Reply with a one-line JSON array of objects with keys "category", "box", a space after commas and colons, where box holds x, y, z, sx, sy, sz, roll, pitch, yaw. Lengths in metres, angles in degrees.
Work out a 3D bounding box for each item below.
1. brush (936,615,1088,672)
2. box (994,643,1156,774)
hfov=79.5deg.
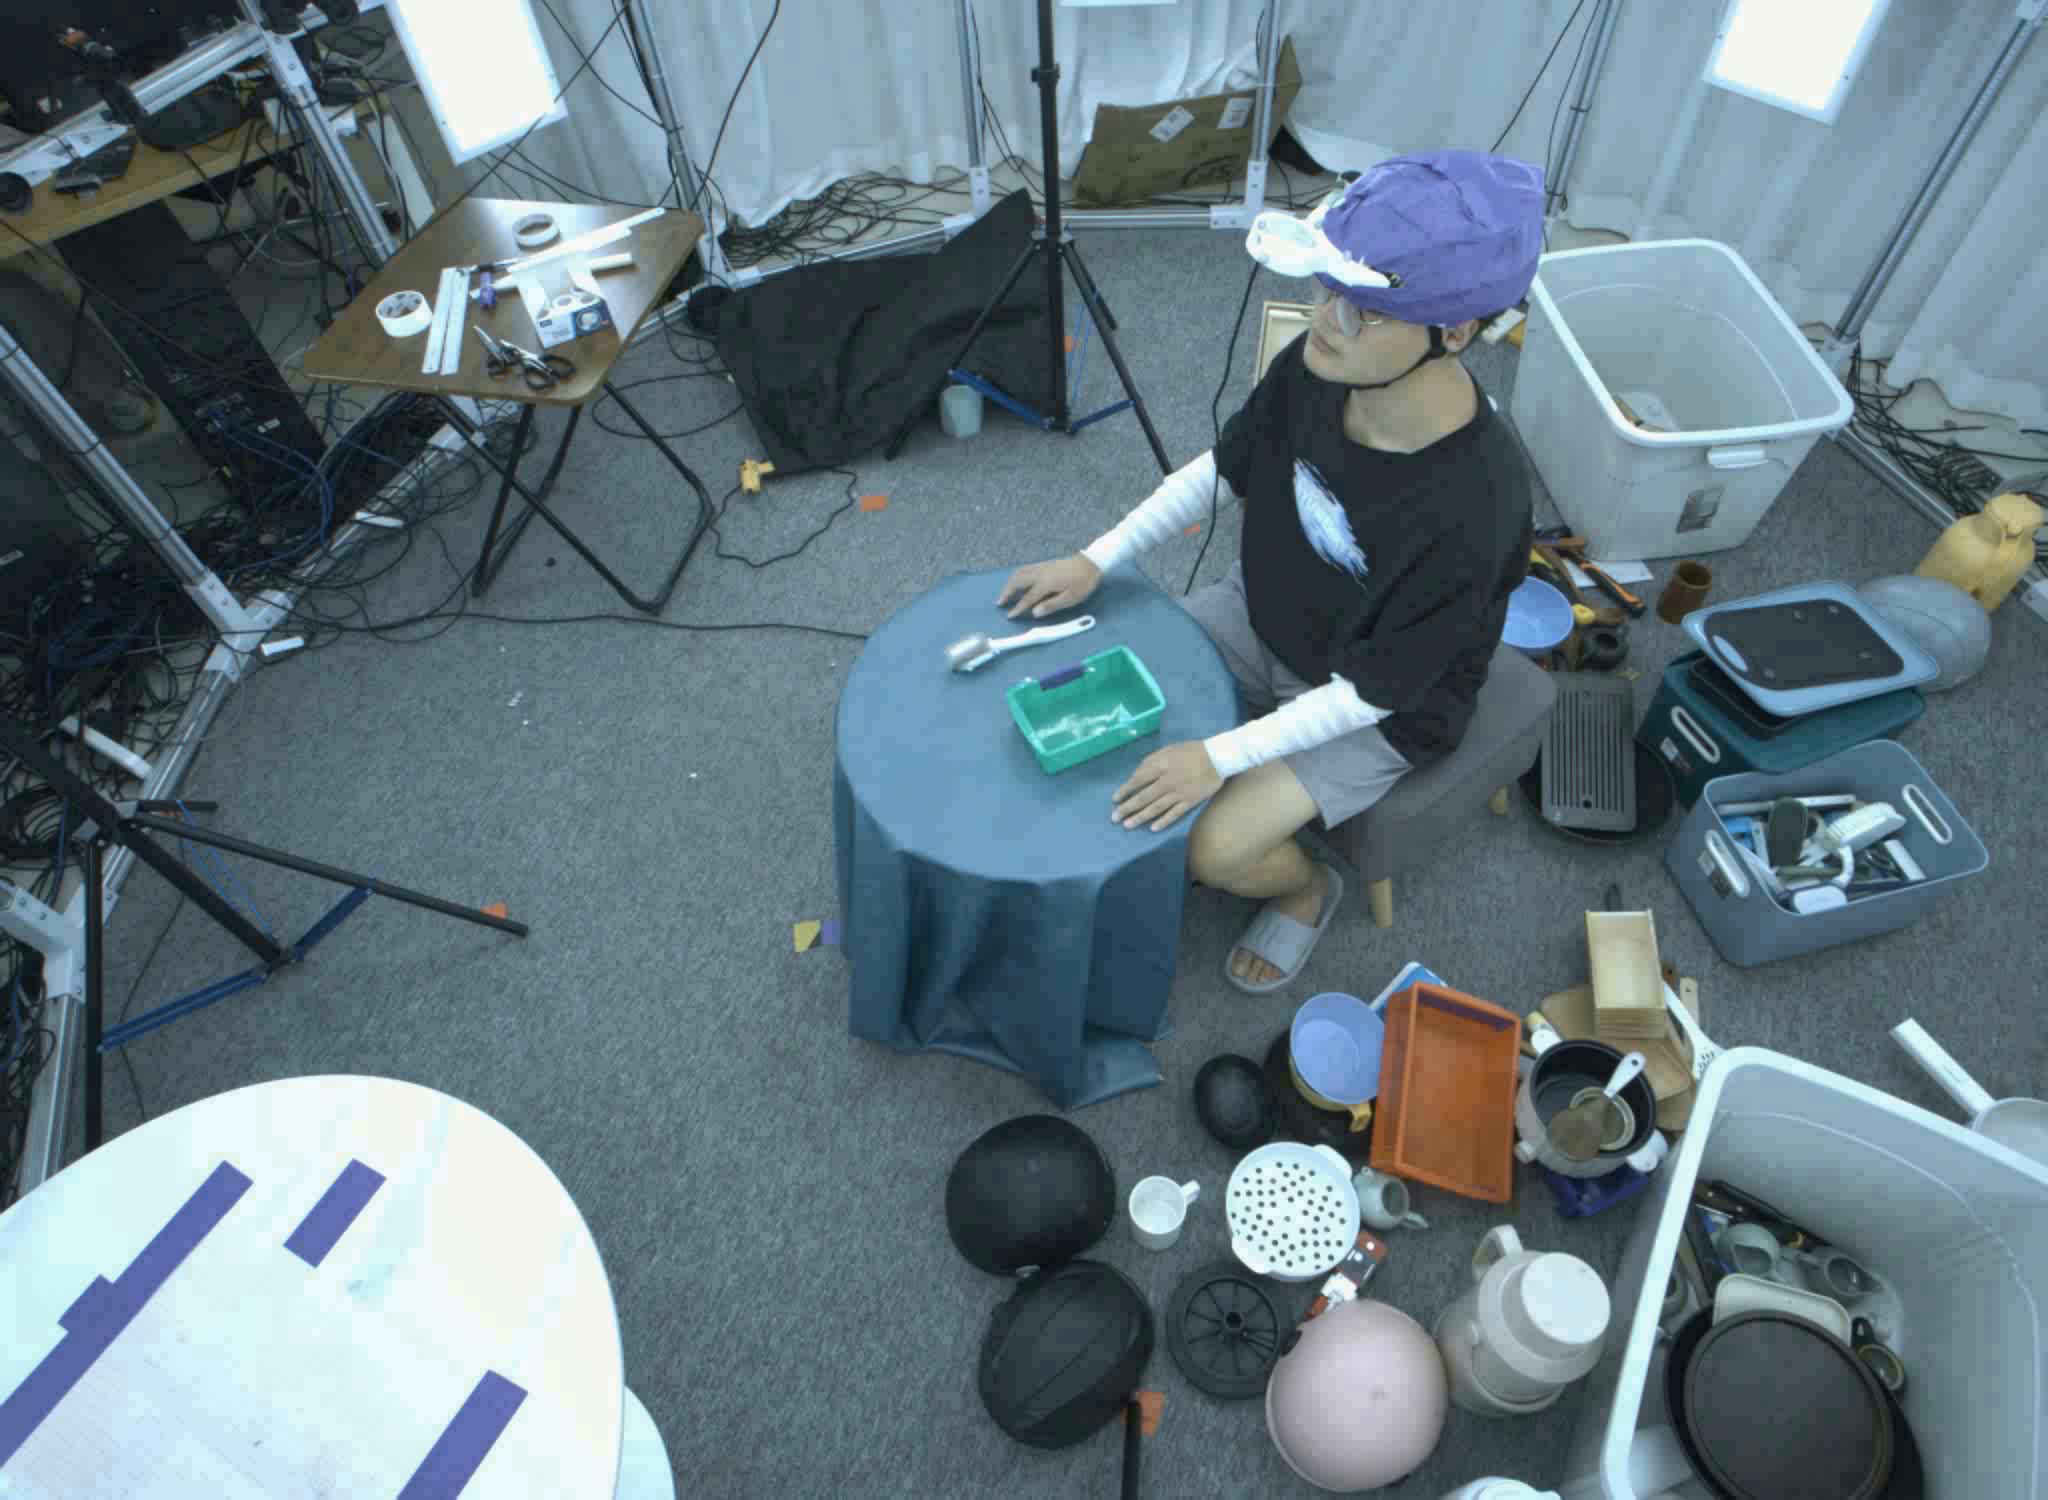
[{"category": "brush", "box": [-0.016, -0.176, 1.875, 0.245, 0.051, 0.034, -19, 53, -11]}, {"category": "box", "box": [0.075, -0.057, 1.778, 0.212, 0.066, 0.136, -25, 54, -14]}]
